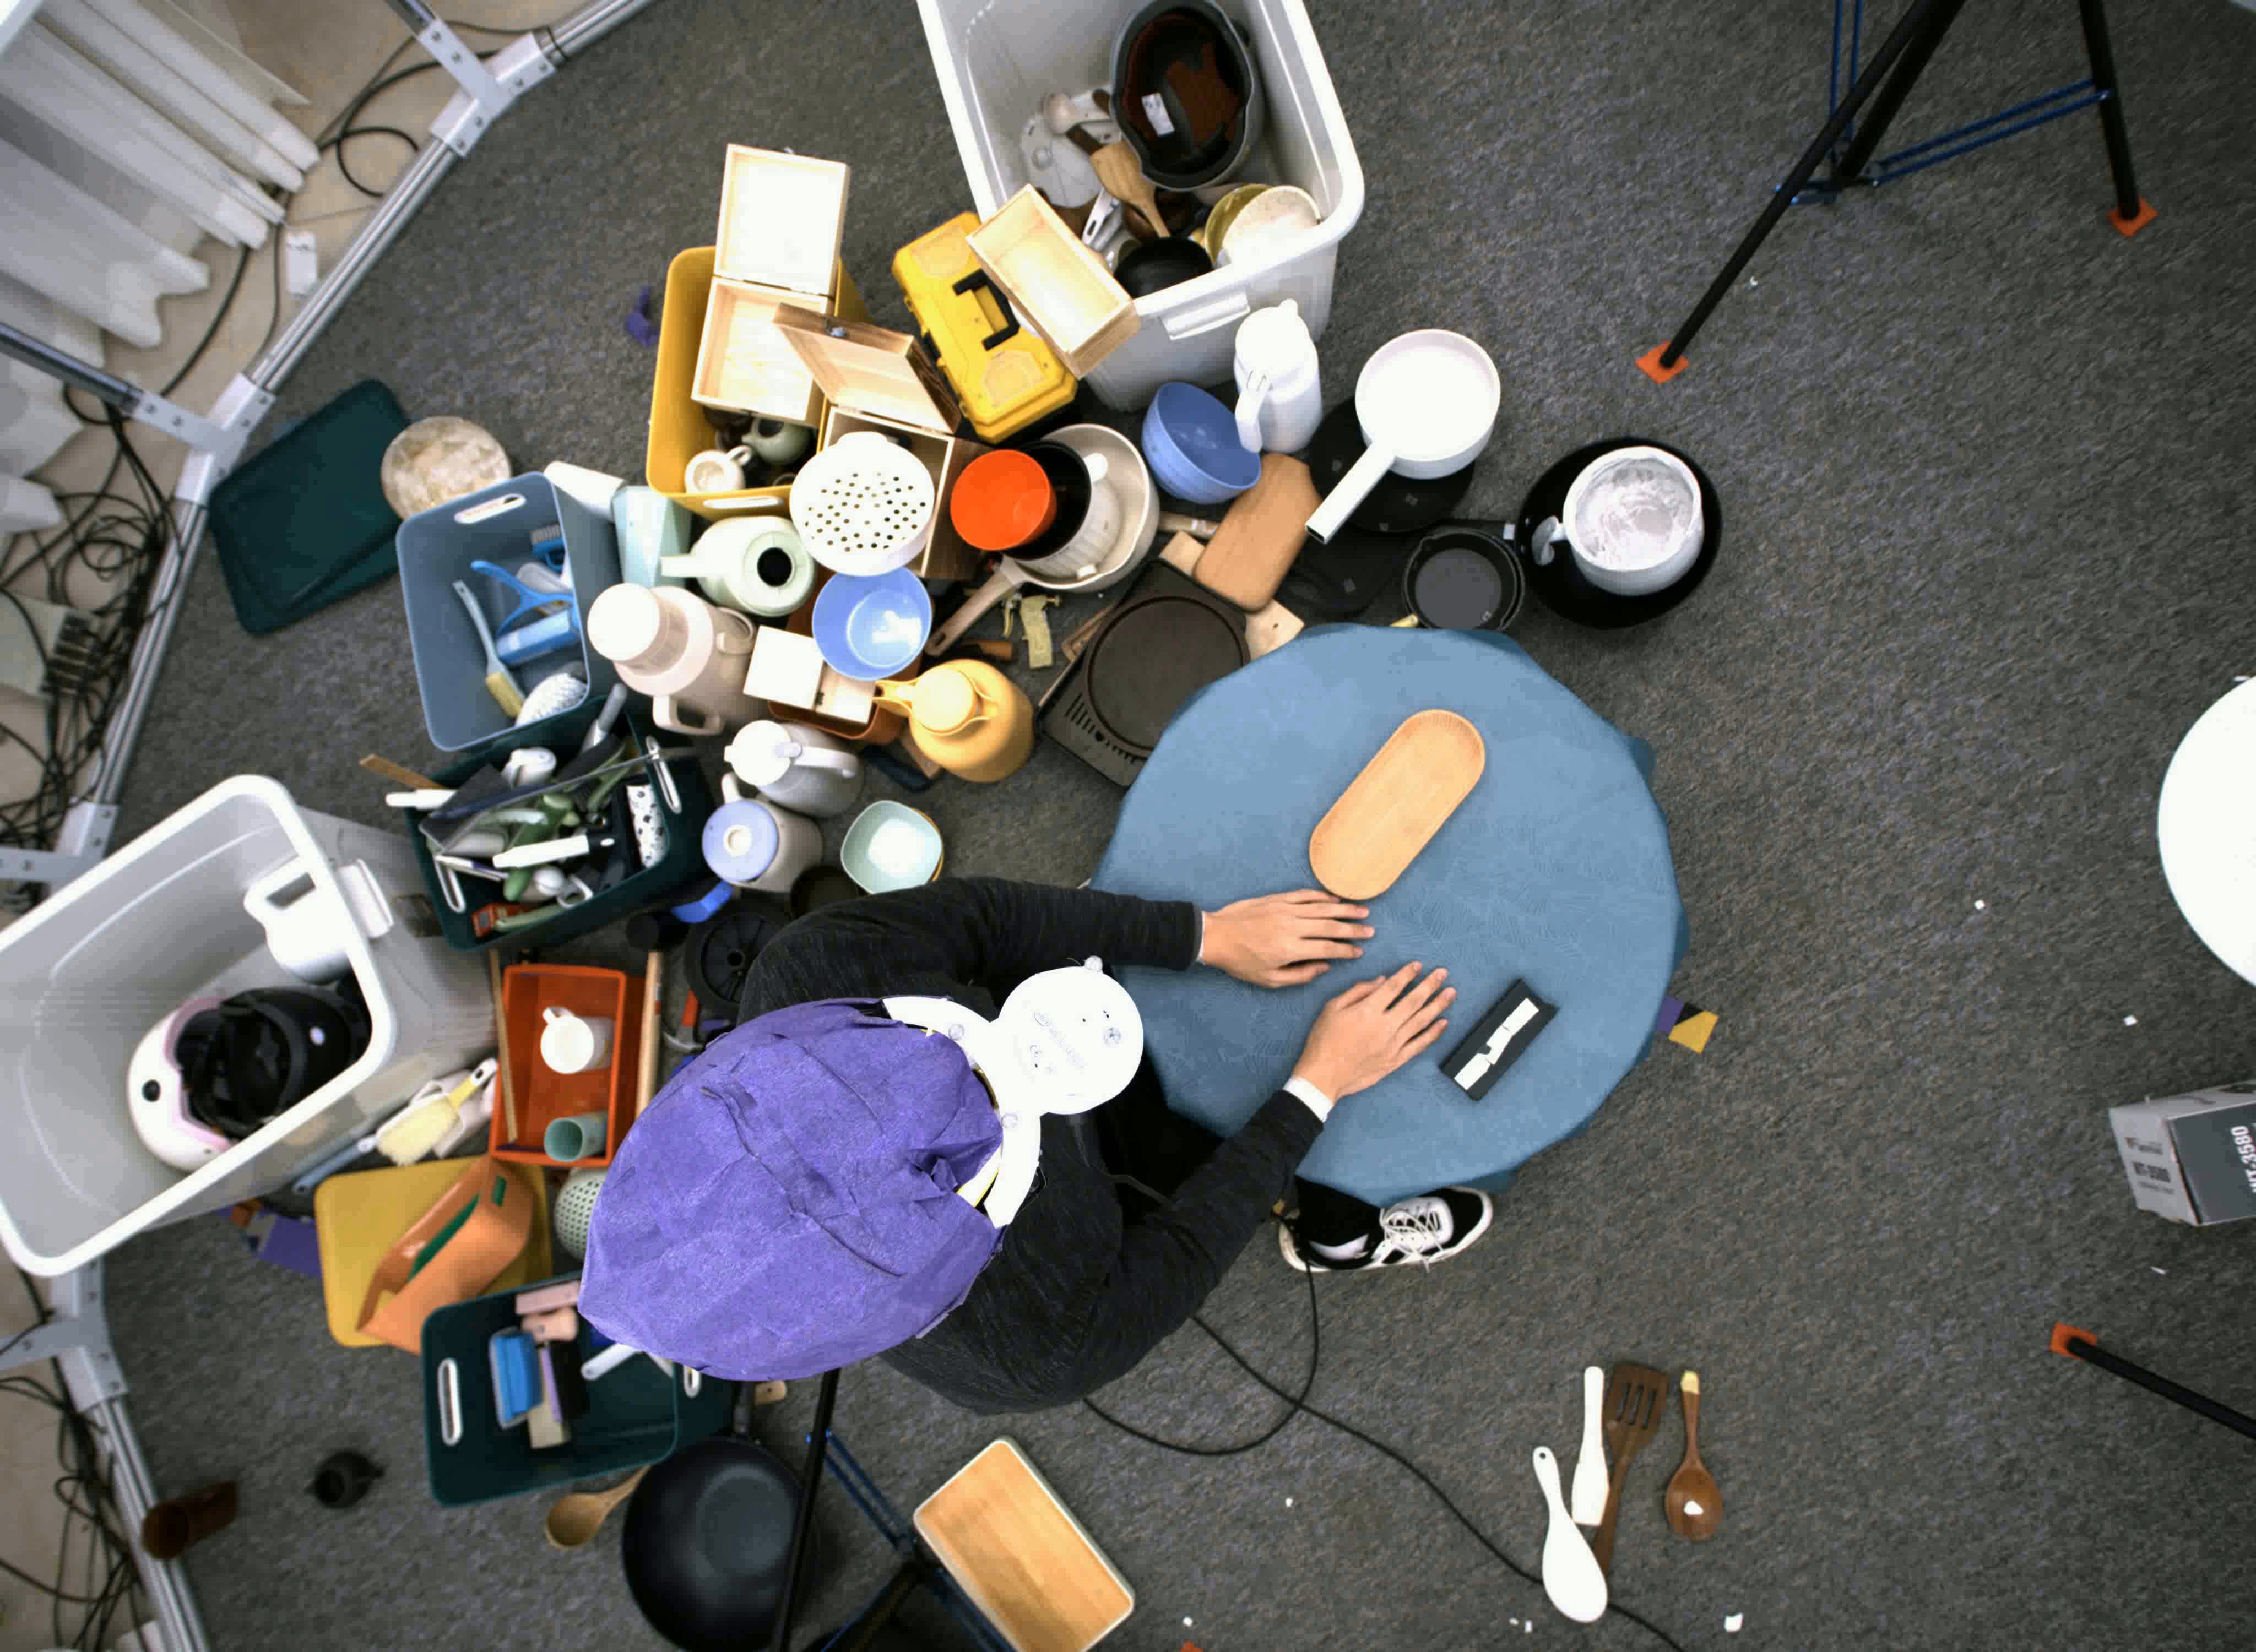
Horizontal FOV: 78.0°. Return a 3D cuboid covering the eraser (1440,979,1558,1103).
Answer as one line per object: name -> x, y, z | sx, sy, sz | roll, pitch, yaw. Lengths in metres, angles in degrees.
eraser -> 0.381, 0.218, 1.417 | 0.053, 0.030, 0.126 | 41, 95, 13

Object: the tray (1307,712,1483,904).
tray -> 0.281, -0.020, 1.455 | 0.101, 0.020, 0.232 | 40, 96, 12
